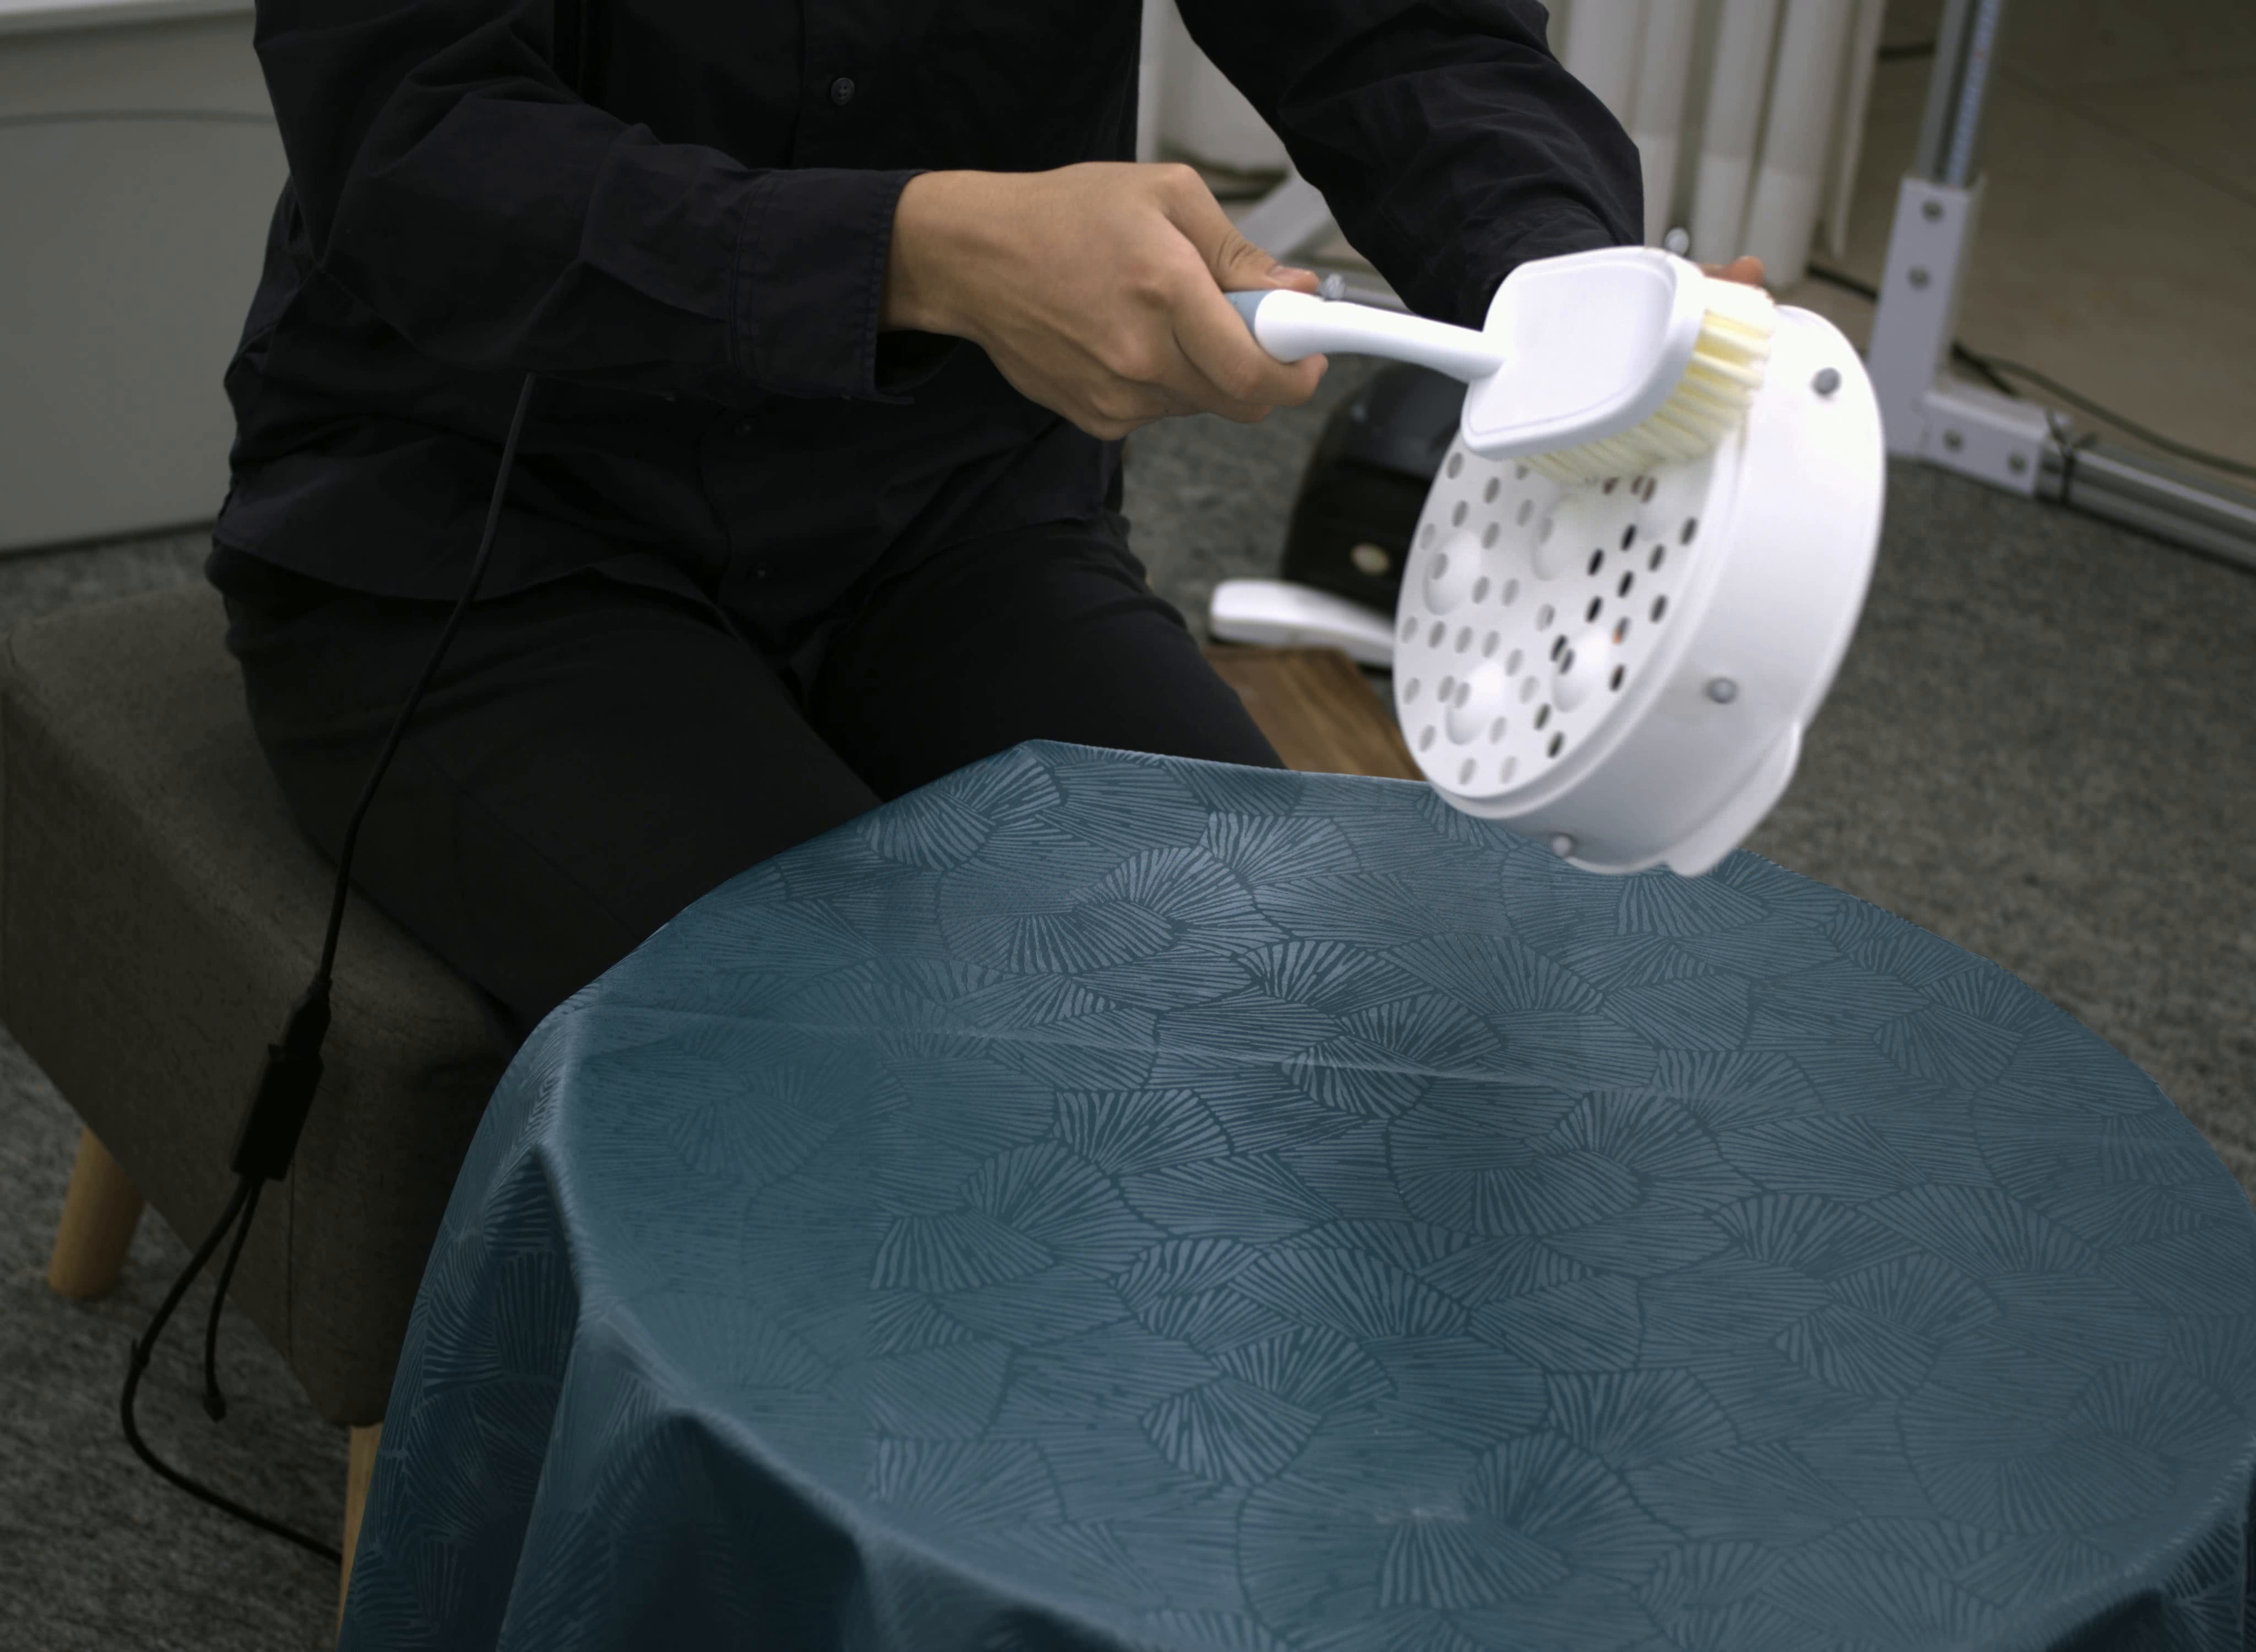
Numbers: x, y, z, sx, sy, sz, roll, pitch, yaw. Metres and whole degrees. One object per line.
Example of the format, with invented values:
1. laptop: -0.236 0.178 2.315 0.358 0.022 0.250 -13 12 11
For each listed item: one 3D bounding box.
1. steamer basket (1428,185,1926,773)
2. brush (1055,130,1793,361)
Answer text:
1. steamer basket: 0.178 -0.122 1.790 0.068 0.202 0.232 20 40 -27
2. brush: 0.106 -0.199 1.819 0.327 0.084 0.083 4 40 49
